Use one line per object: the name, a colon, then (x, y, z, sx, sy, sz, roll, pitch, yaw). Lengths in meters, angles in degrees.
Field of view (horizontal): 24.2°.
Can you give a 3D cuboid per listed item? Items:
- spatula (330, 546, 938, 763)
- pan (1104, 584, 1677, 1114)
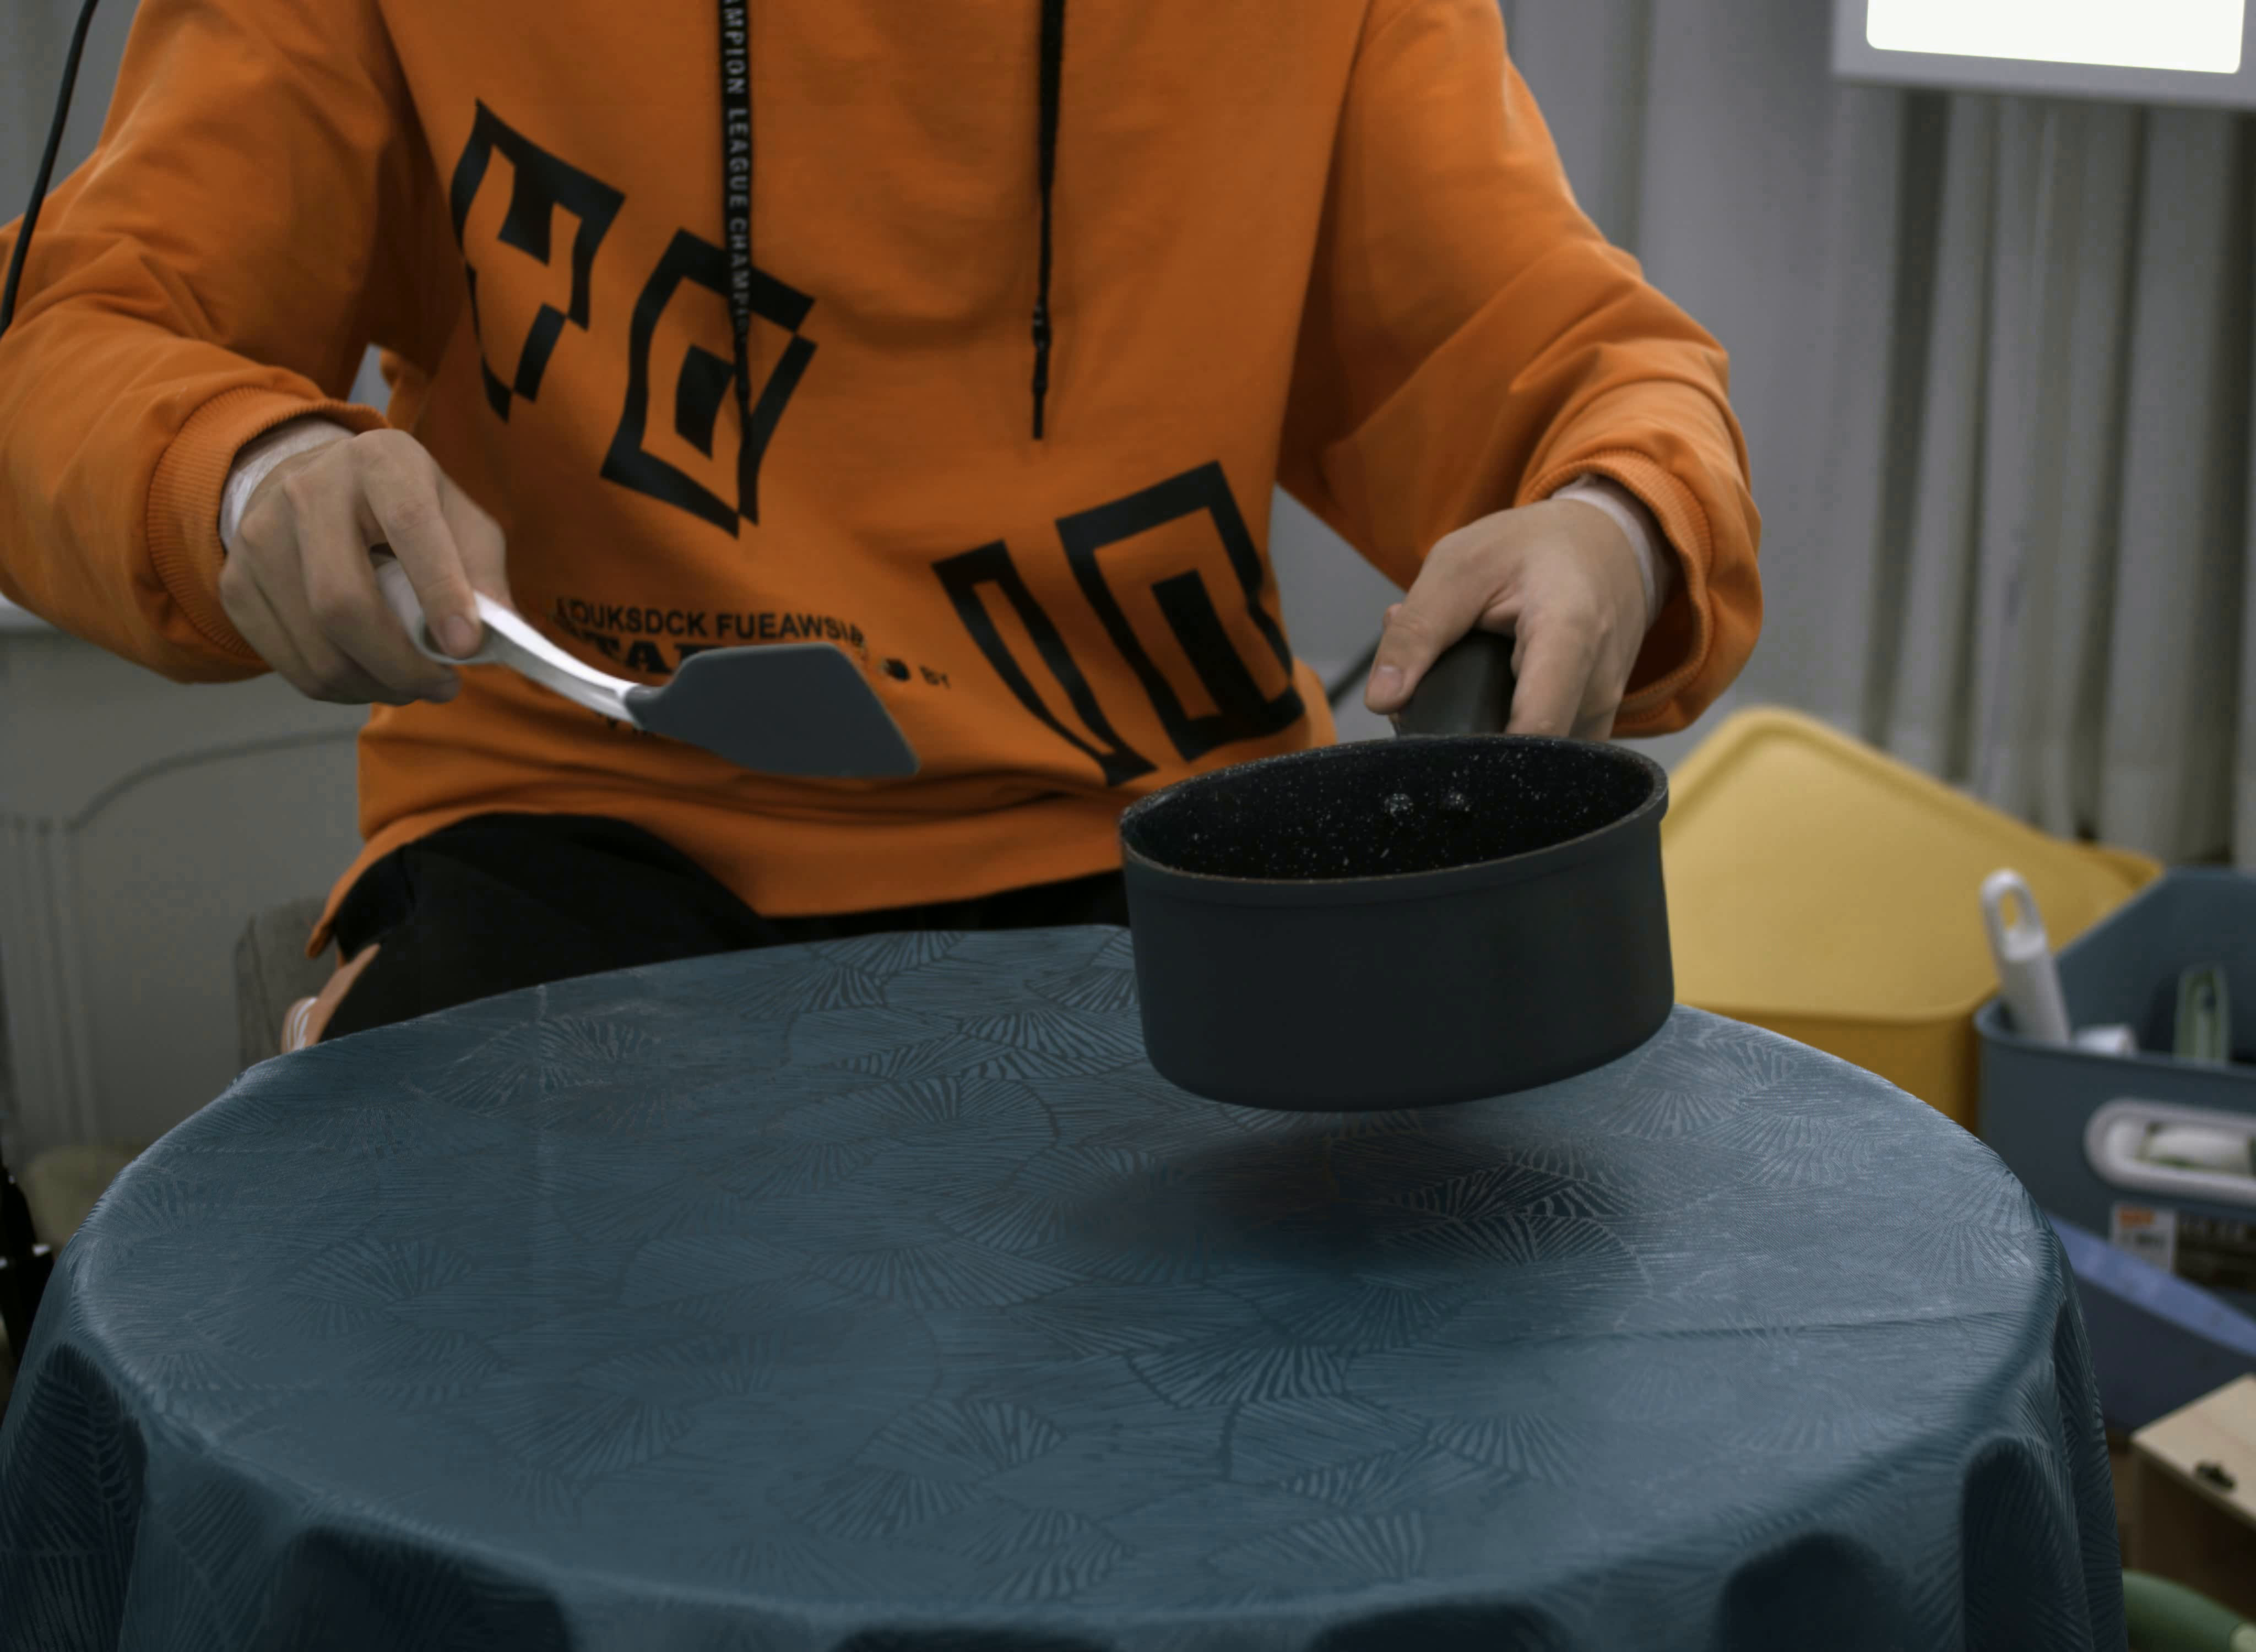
spatula: (-0.160, -0.053, 1.619, 0.284, 0.059, 0.032, 15, 57, 50)
pan: (0.099, 0.004, 1.676, 0.171, 0.087, 0.328, -1, 16, 14)
